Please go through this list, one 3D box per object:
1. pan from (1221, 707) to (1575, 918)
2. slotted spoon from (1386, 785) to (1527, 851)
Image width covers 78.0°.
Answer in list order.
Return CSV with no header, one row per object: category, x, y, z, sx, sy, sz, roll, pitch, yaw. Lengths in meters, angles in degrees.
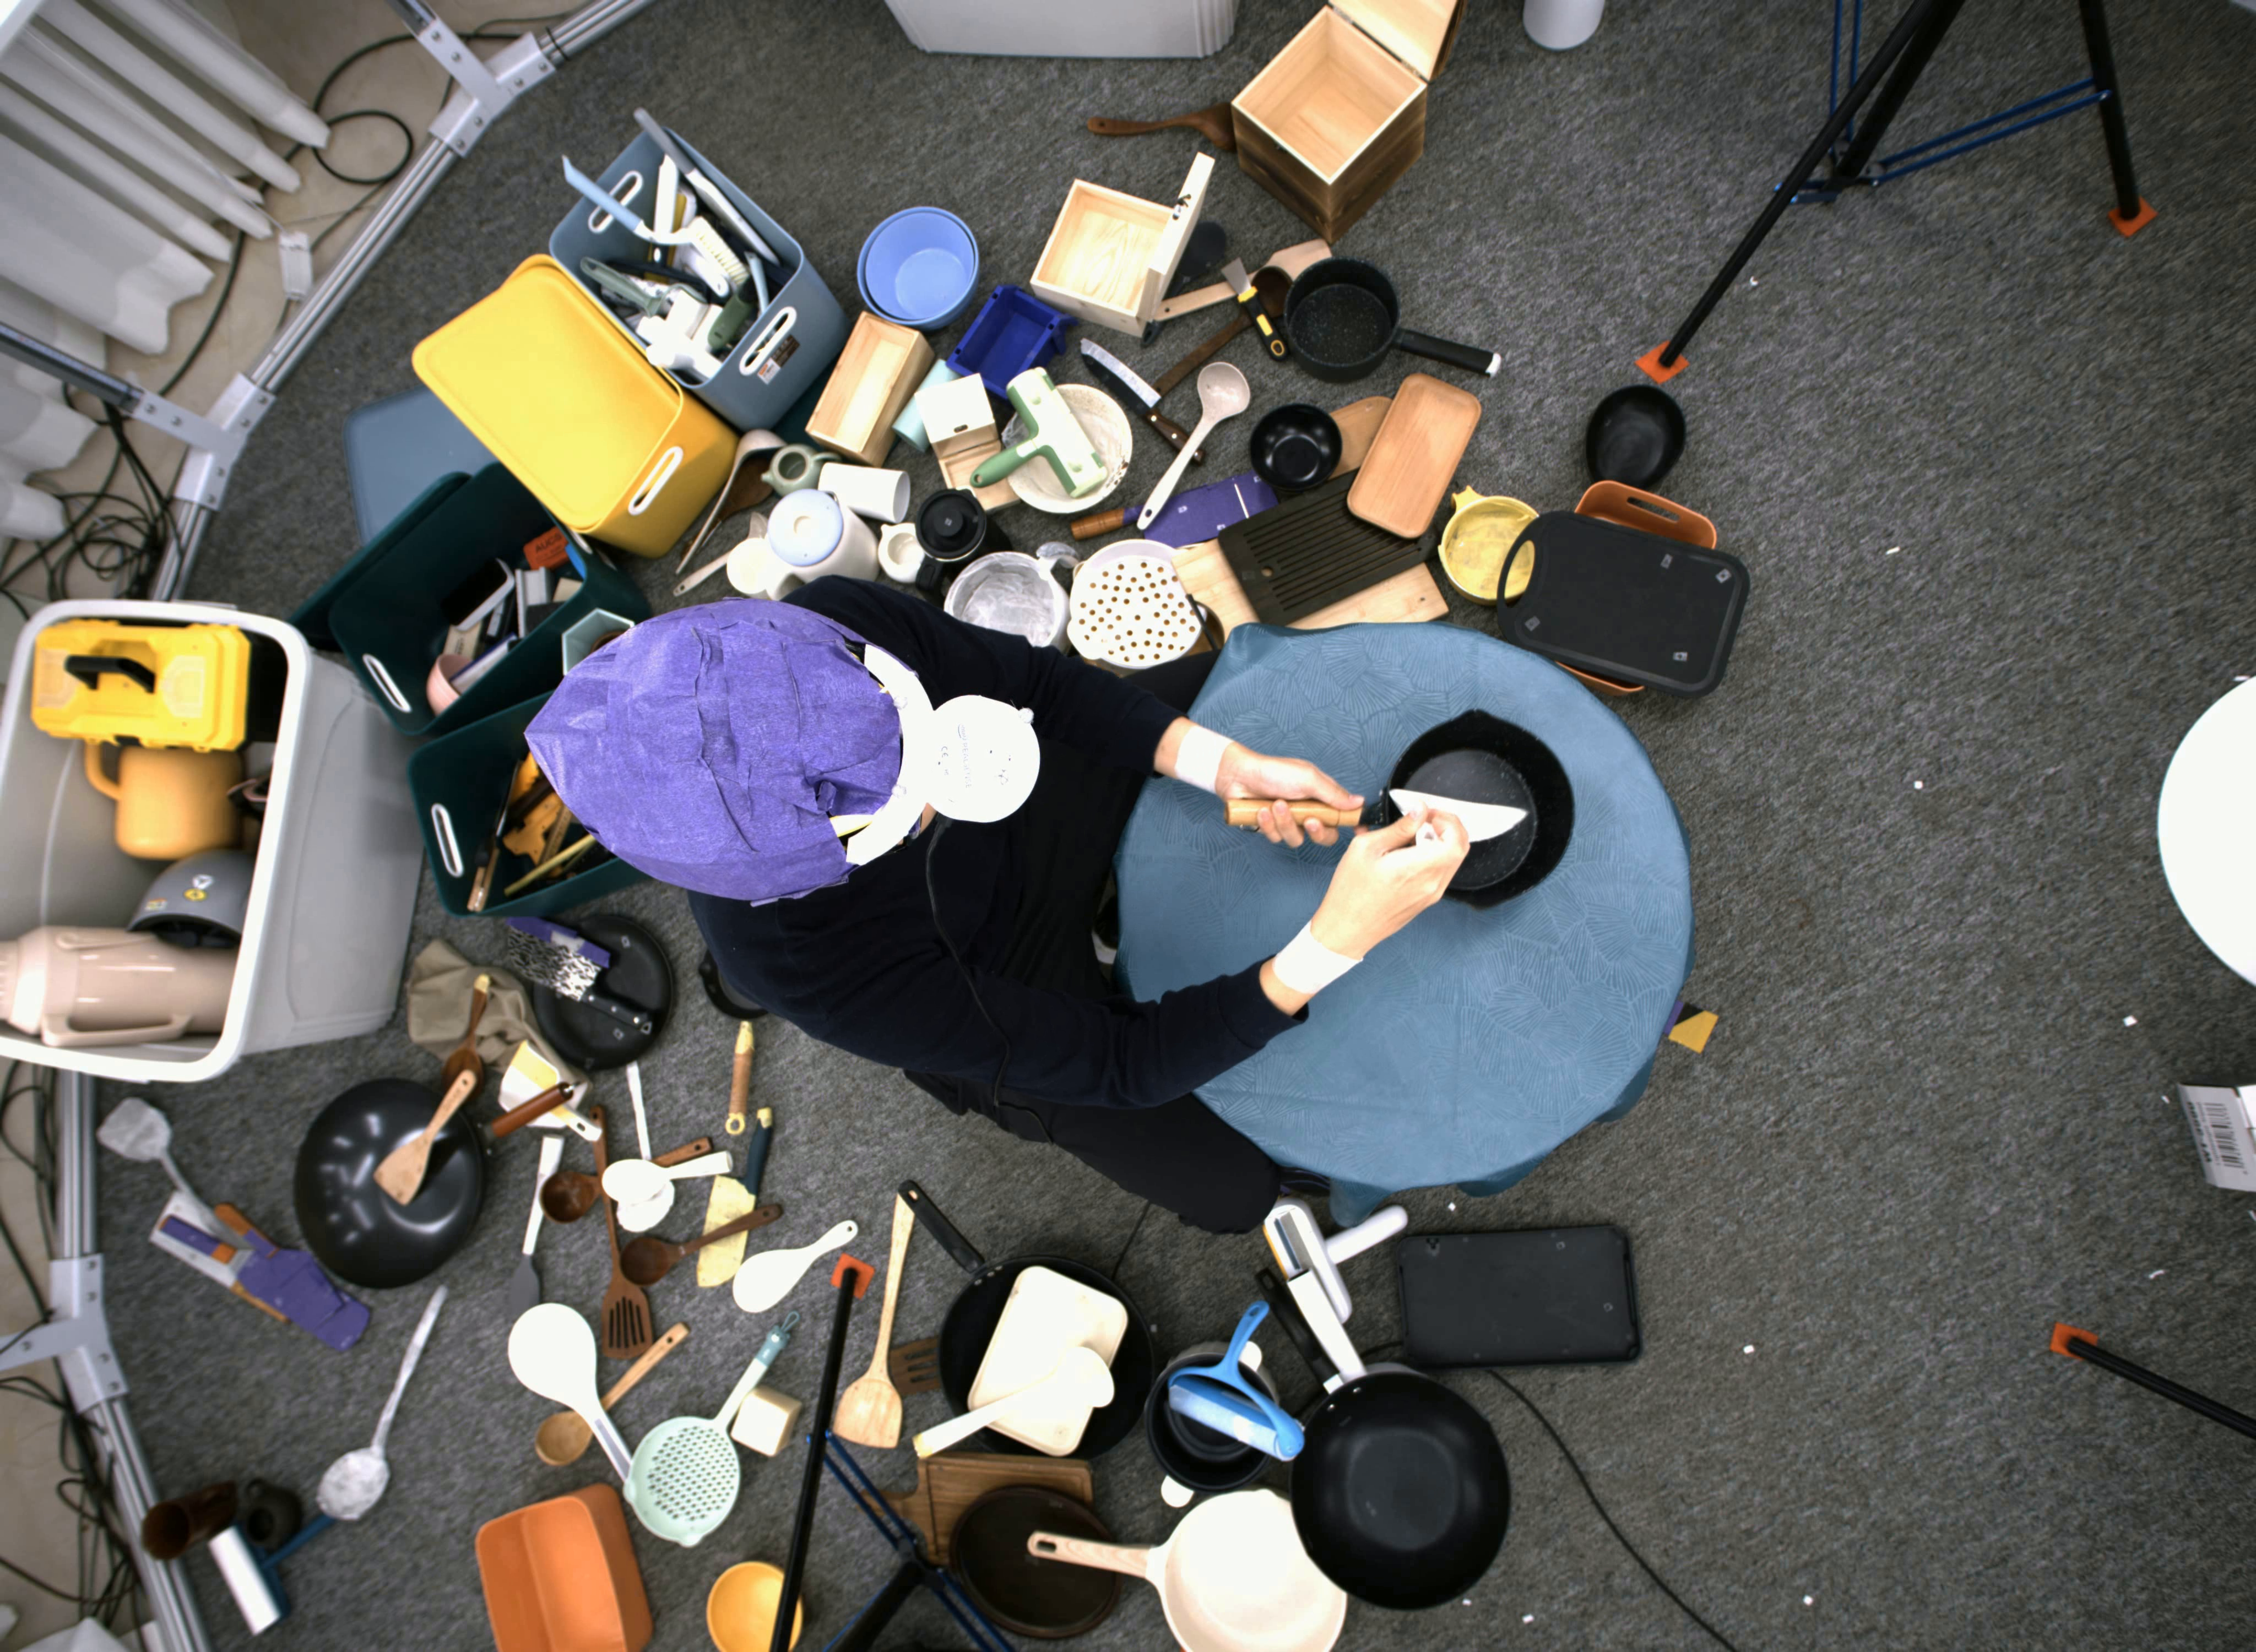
pan,0.263,-0.010,1.371,0.343,0.108,0.206,-2,86,3
slotted spoon,0.285,-0.008,1.231,0.137,0.346,0.050,10,93,16
